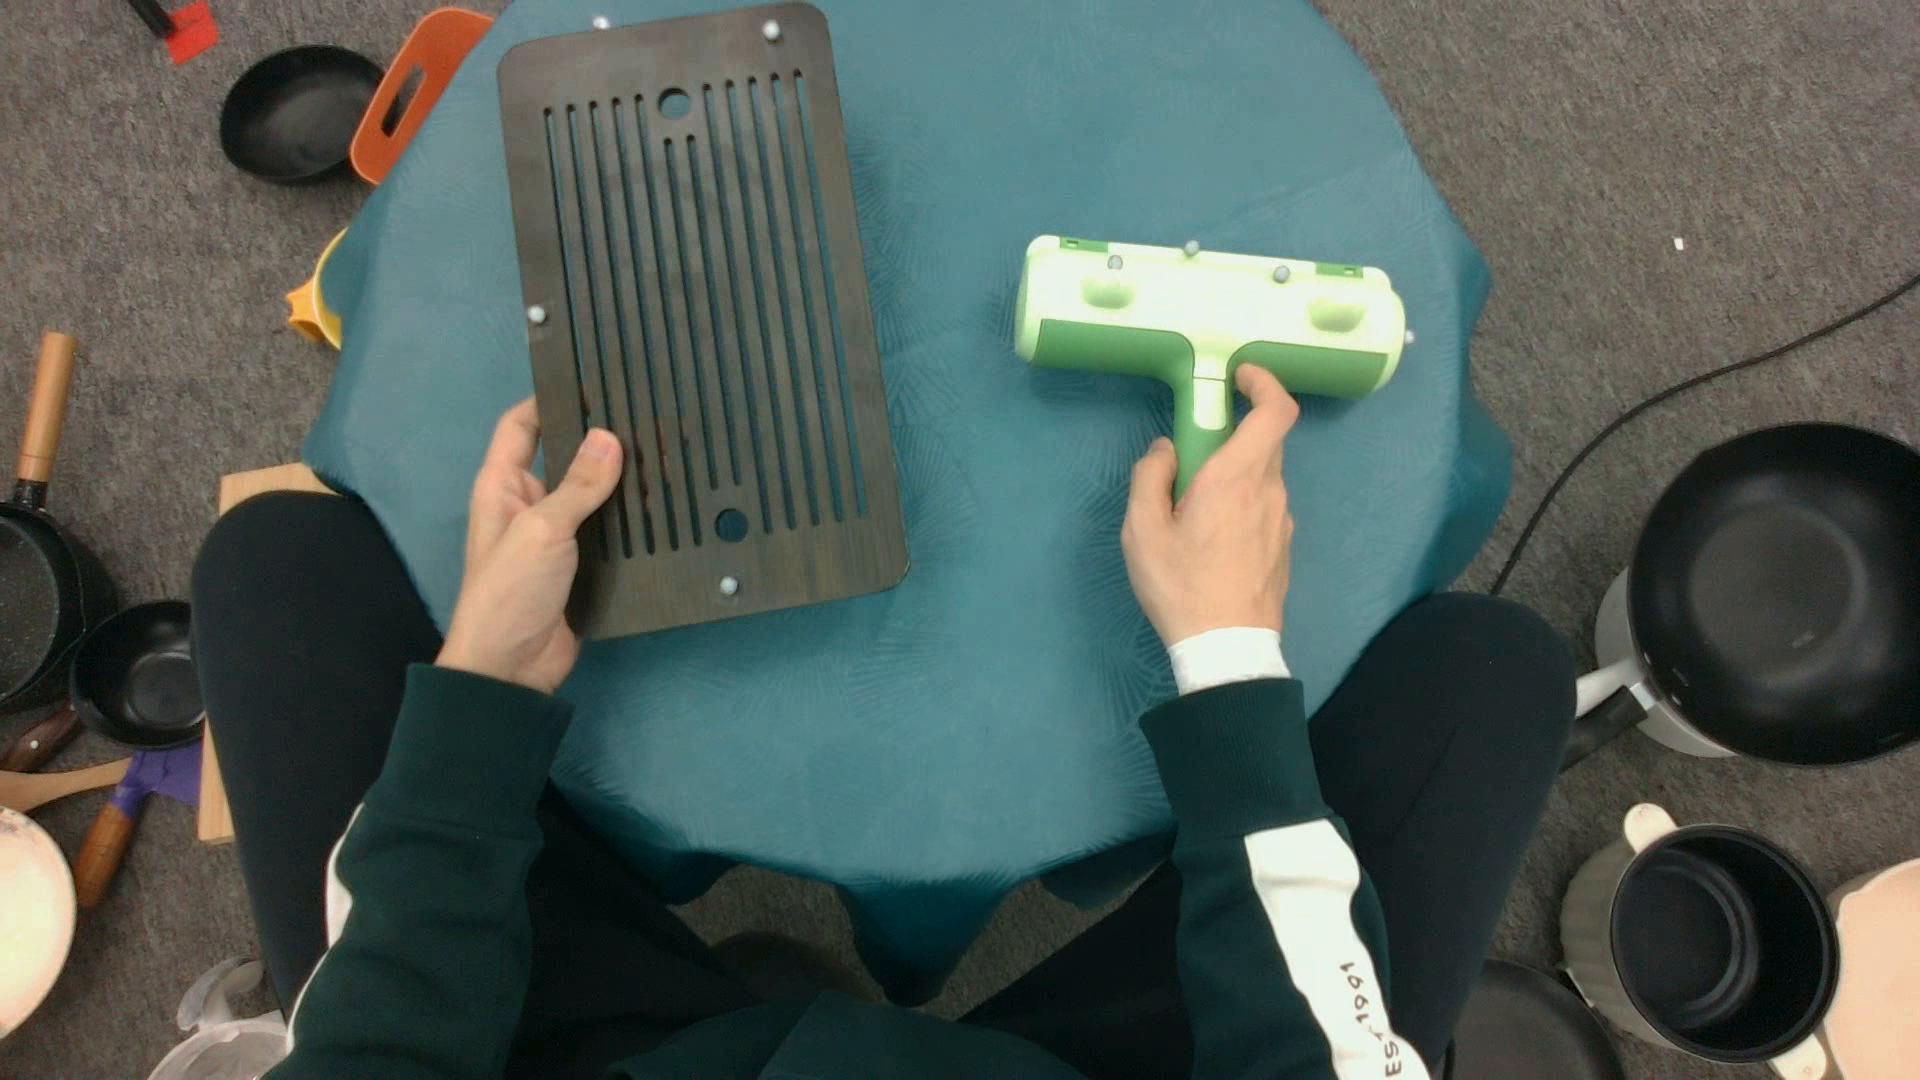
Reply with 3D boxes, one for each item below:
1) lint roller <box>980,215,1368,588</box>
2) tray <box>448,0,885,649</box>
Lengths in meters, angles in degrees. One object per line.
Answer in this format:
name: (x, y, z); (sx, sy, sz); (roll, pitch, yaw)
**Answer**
lint roller: (0.112, -0.073, 0.679); (0.199, 0.082, 0.184); (4, 66, -11)
tray: (-0.144, -0.110, 0.666); (0.170, 0.018, 0.306); (-12, 86, 8)
